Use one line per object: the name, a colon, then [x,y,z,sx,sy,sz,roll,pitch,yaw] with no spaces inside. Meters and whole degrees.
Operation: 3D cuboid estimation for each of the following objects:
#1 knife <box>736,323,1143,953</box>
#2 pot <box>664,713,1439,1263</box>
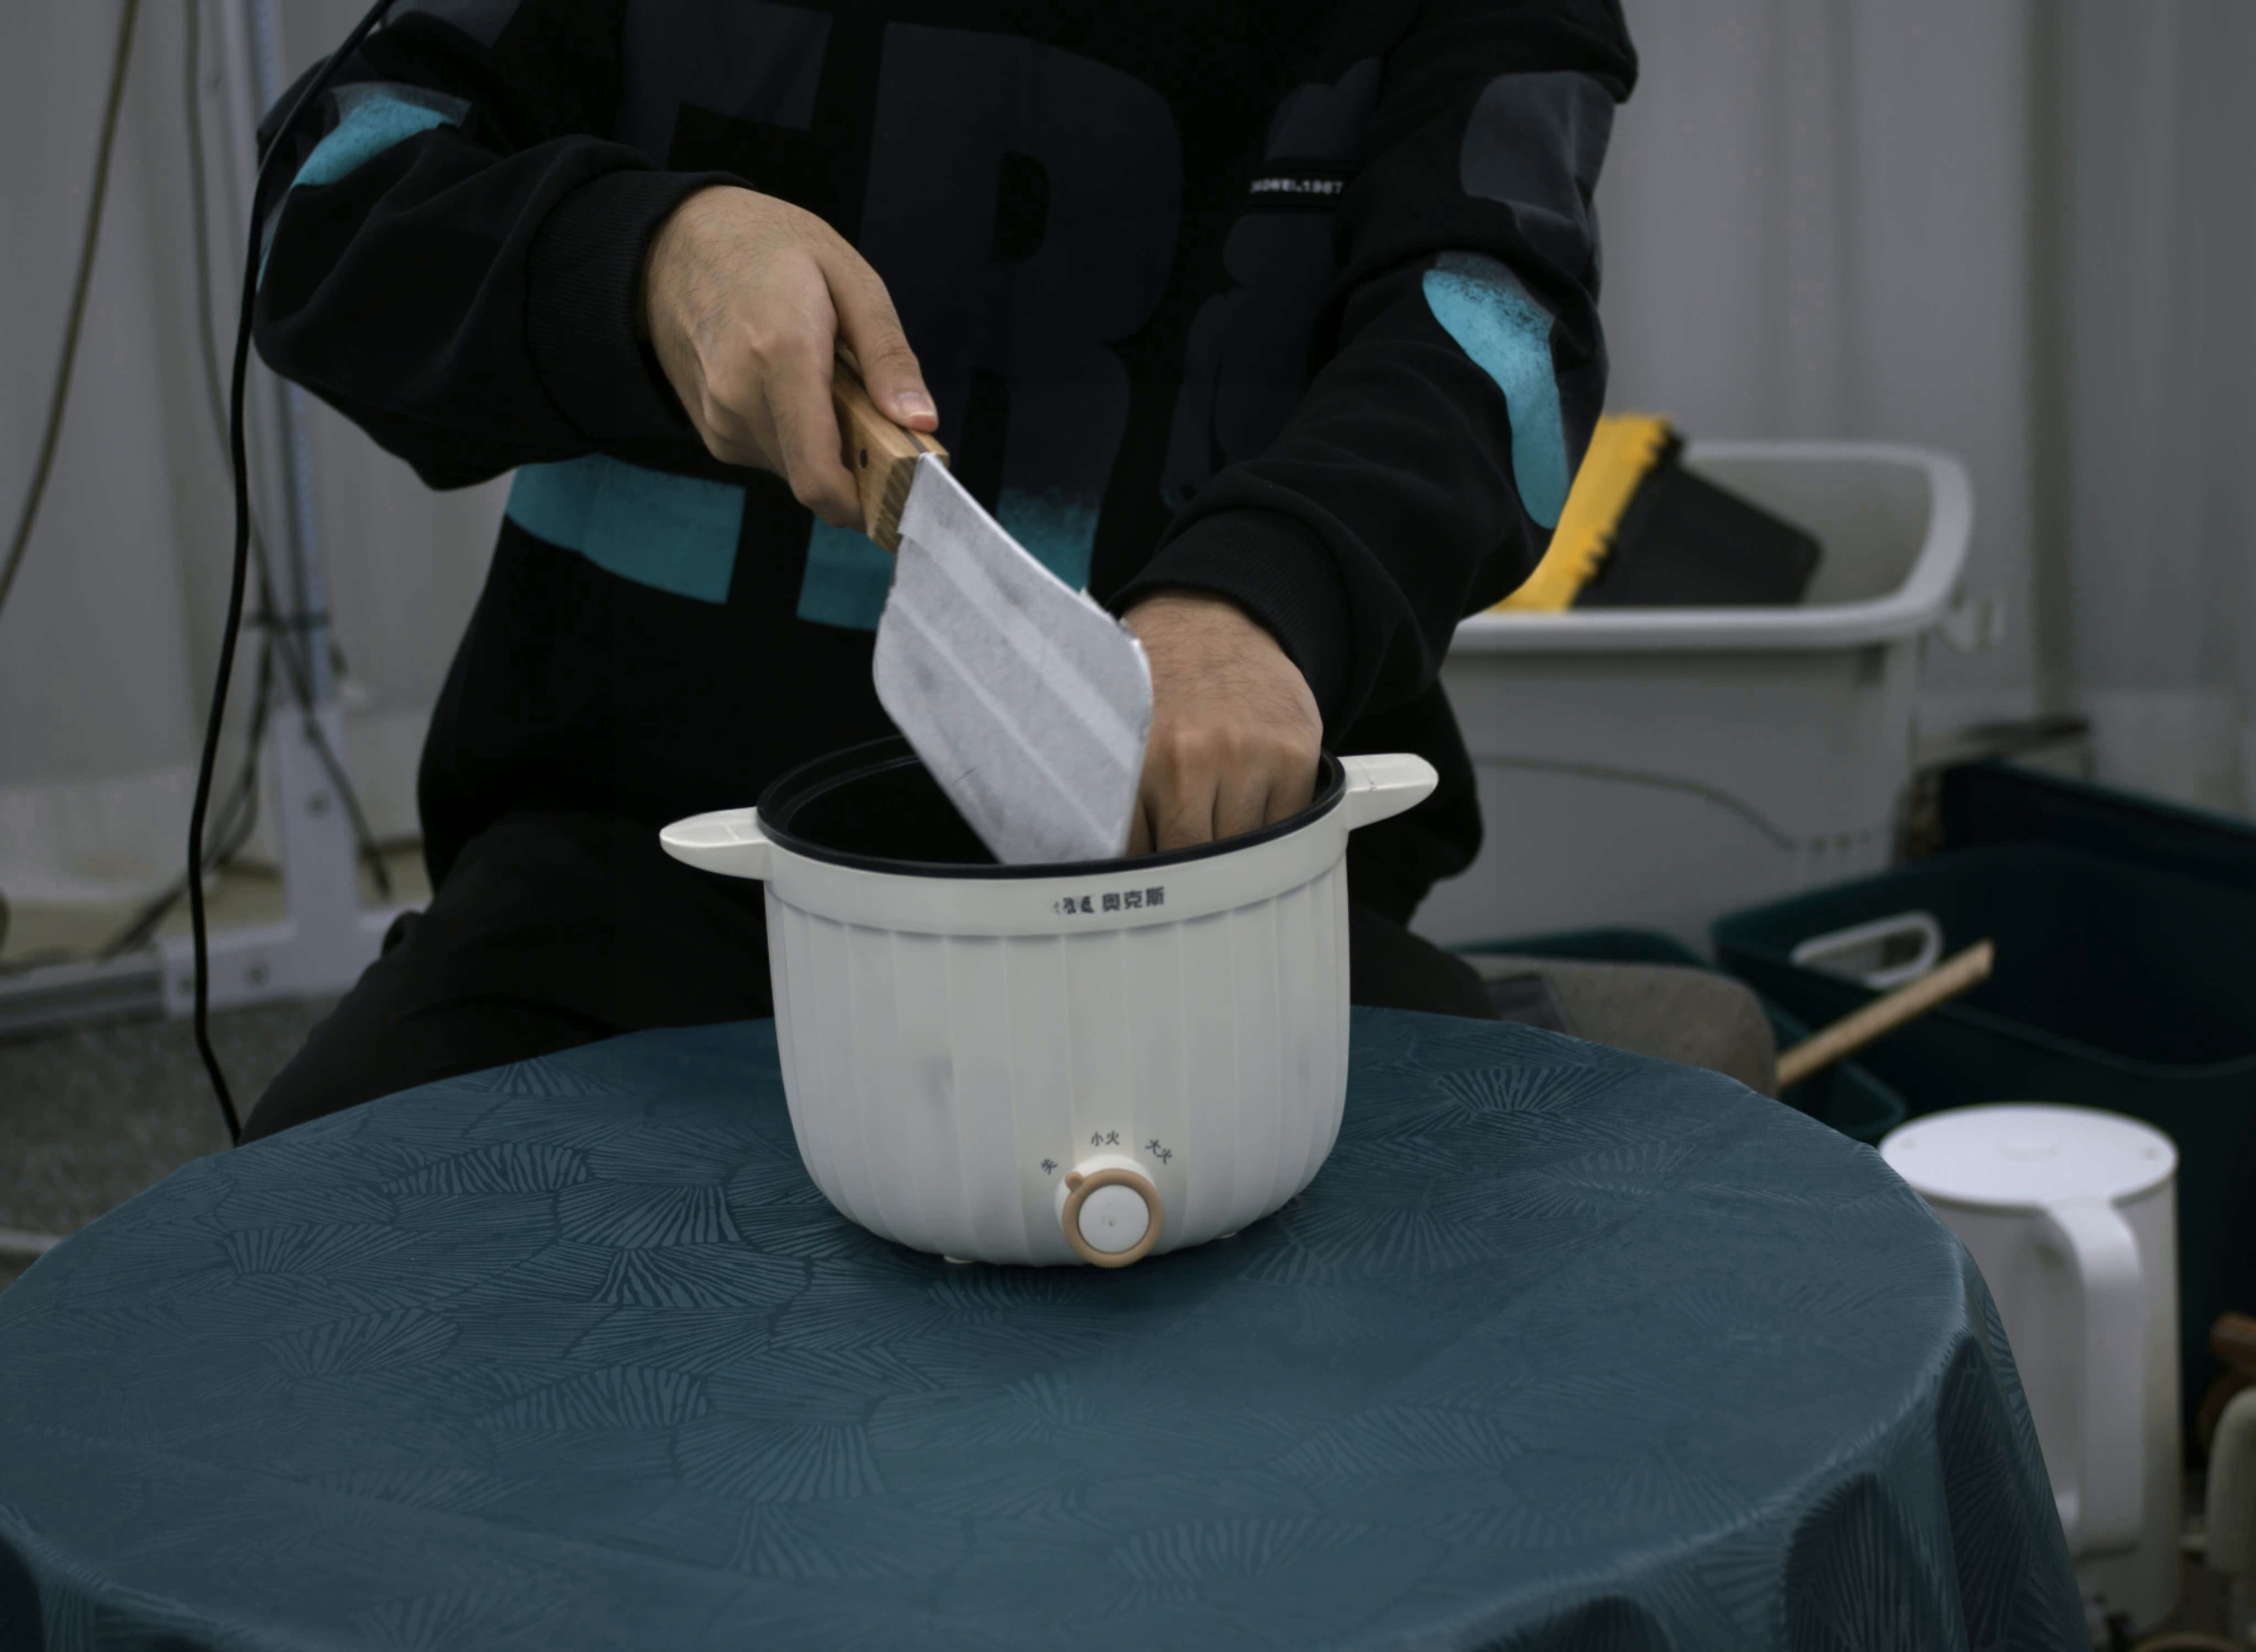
knife: [-0.061,-0.076,1.714,0.021,0.113,0.320,2,30,-27]
pot: [-0.017,0.053,1.683,0.239,0.142,0.191,-6,11,-7]
